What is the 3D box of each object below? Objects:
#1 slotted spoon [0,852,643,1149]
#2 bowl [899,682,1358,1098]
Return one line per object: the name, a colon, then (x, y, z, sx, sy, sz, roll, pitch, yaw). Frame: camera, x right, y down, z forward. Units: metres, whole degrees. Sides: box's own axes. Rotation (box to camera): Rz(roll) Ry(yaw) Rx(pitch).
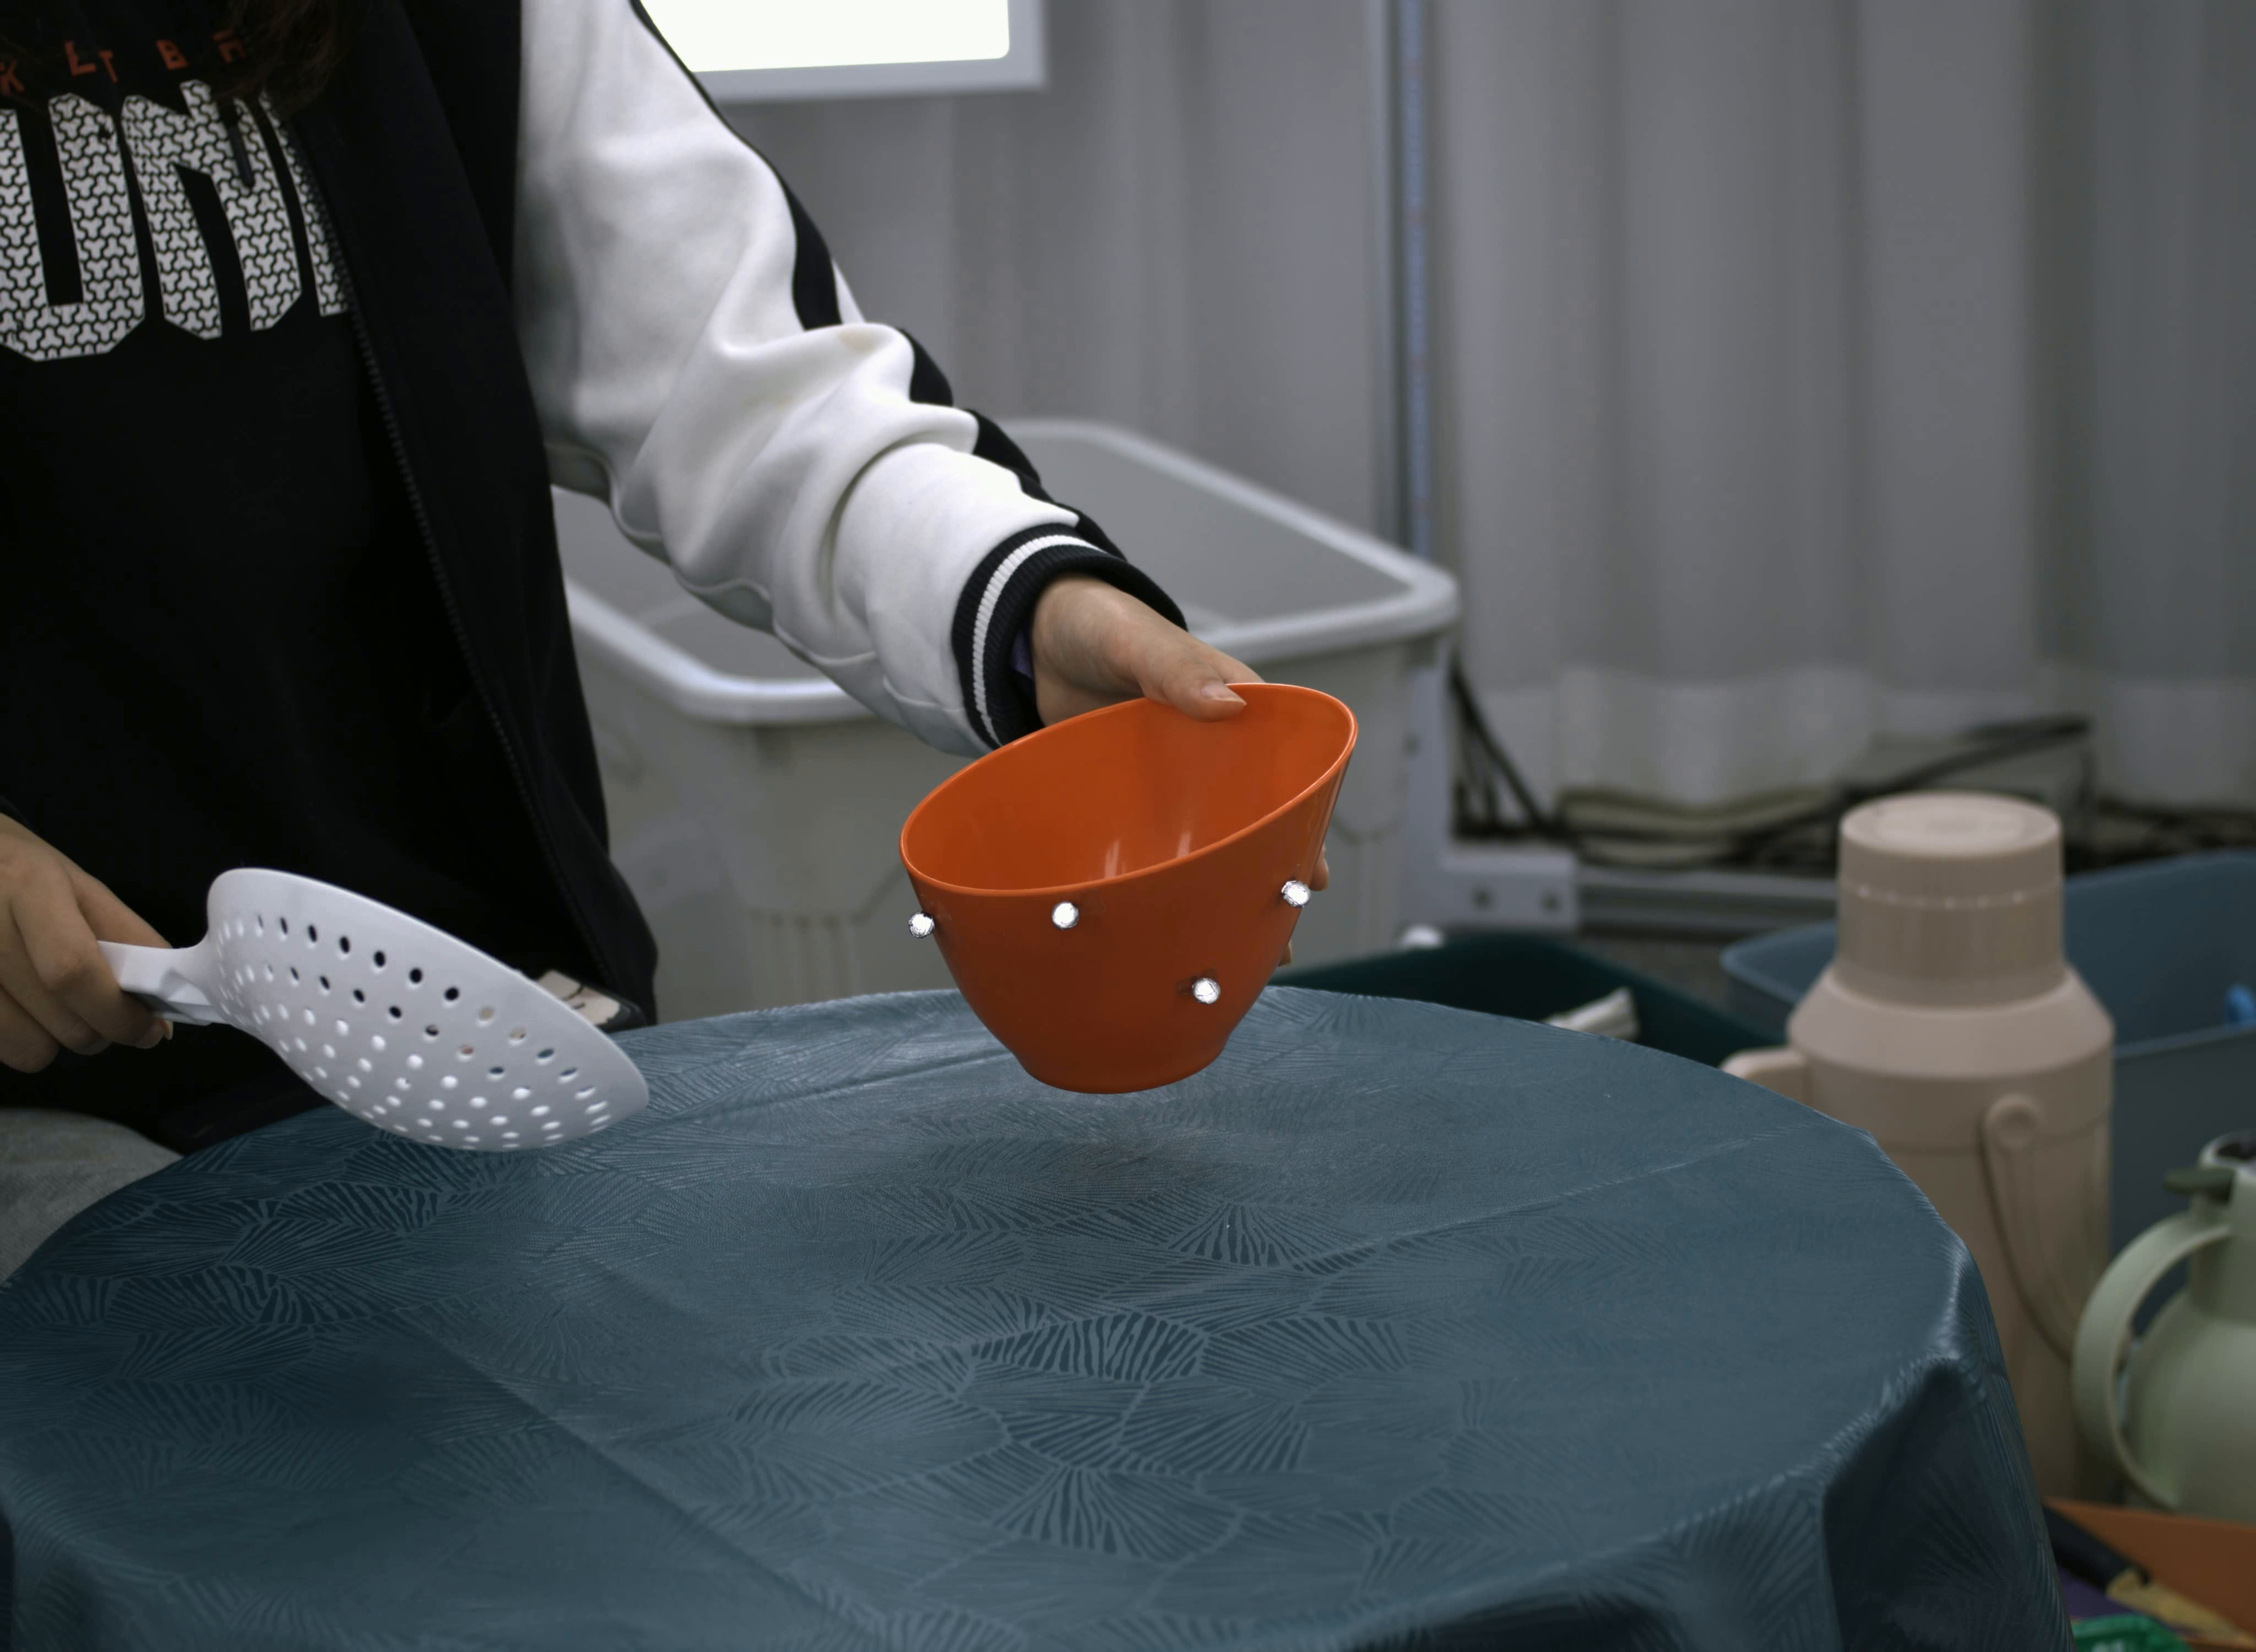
slotted spoon: (-0.269, 0.048, 1.621, 0.134, 0.046, 0.351, 41, -19, -34)
bowl: (0.004, 0.025, 1.717, 0.147, 0.104, 0.149, -7, 25, 3)
